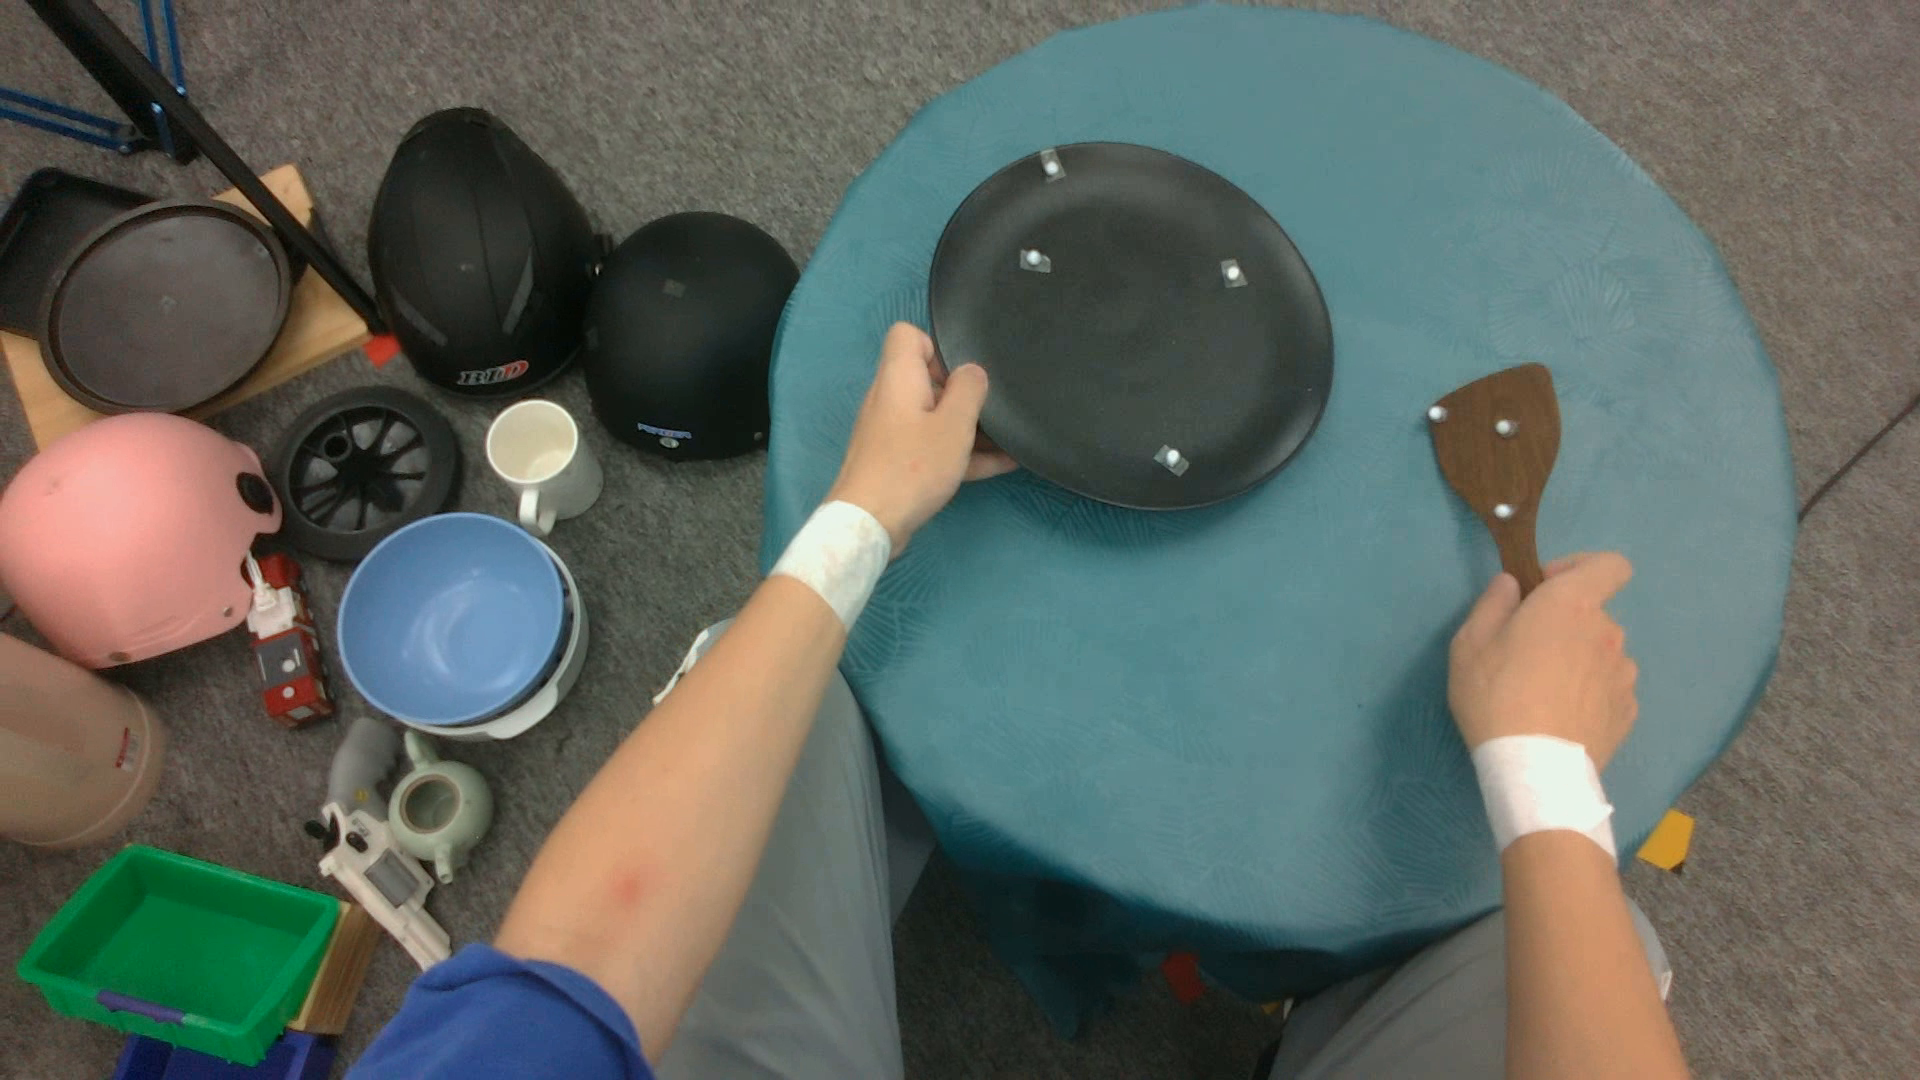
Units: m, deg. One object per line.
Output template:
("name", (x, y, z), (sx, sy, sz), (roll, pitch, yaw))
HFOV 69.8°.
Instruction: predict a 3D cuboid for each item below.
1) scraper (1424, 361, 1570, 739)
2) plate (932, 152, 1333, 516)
("scraper", (0.305, 0.005, 0.761), (0.011, 0.075, 0.212), (15, 63, -36))
("plate", (0.102, -0.123, 0.813), (0.244, 0.023, 0.245), (4, 67, -10))
